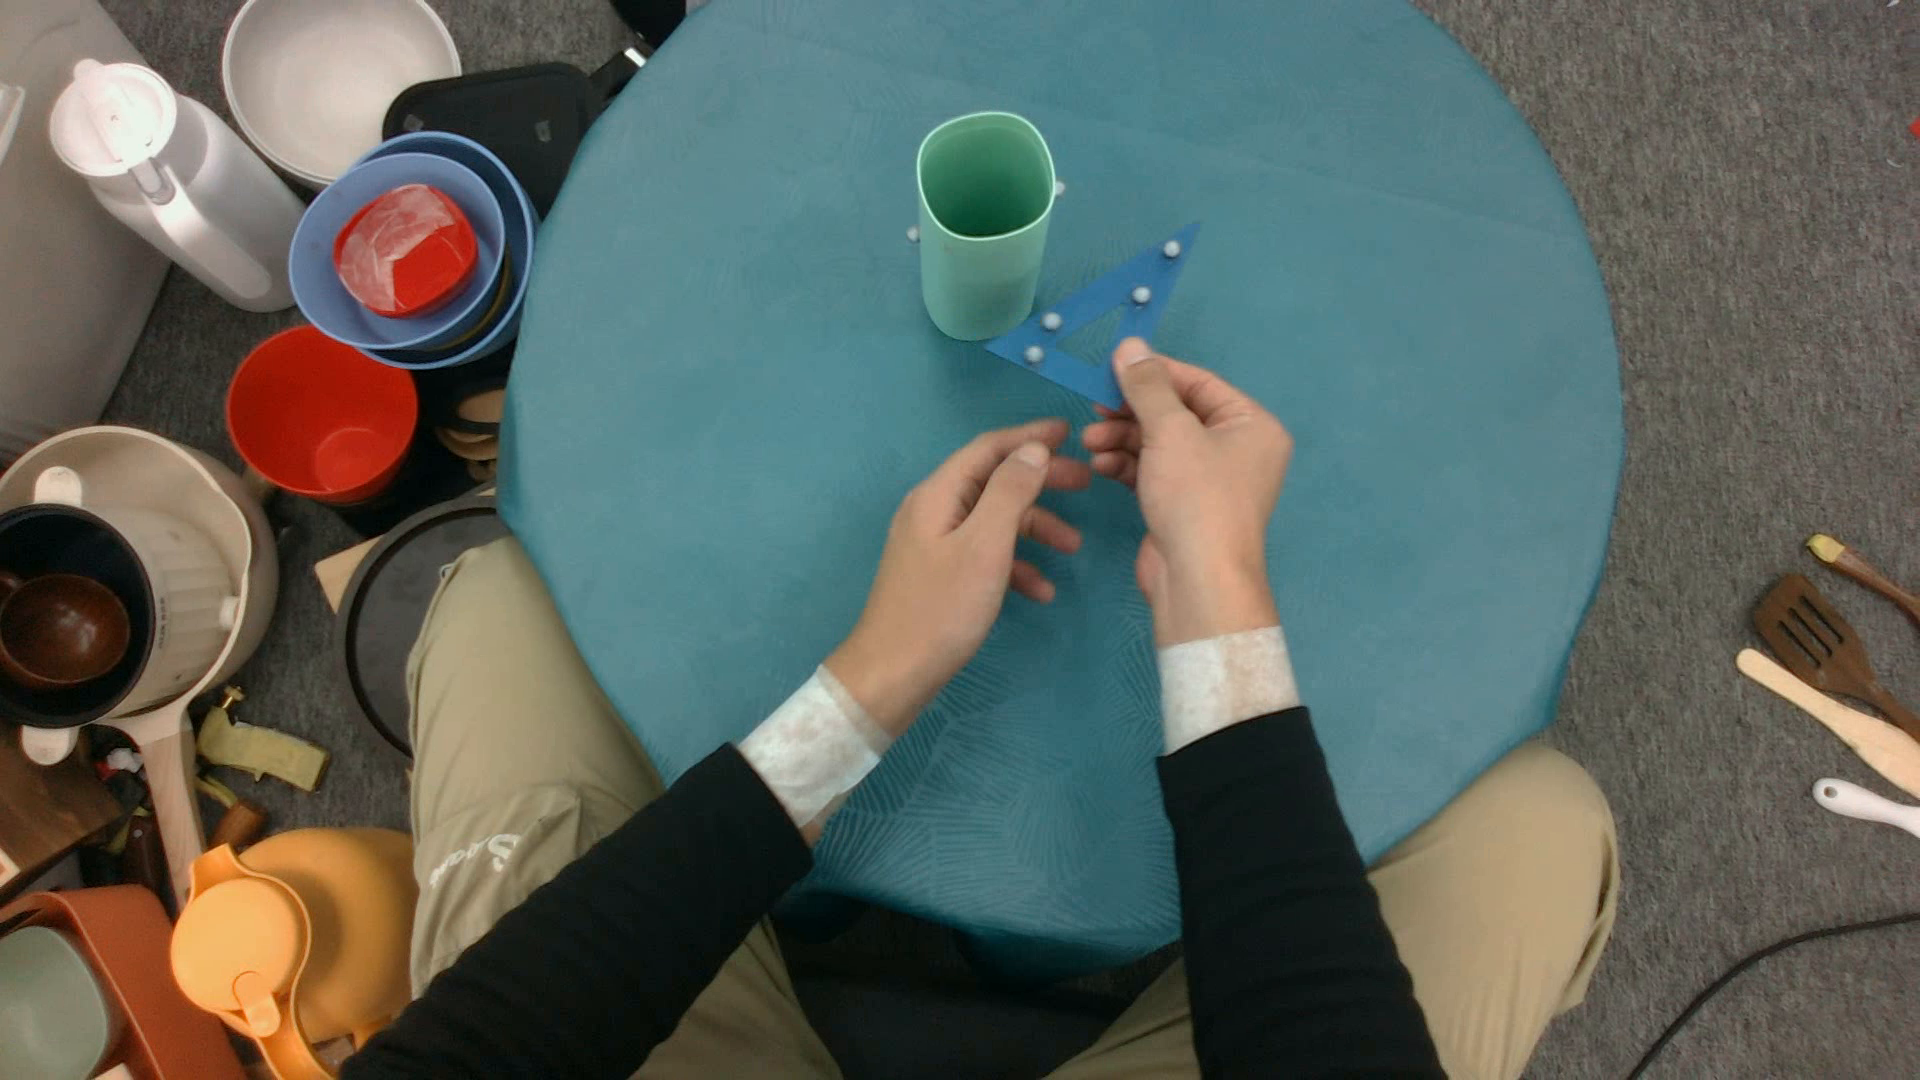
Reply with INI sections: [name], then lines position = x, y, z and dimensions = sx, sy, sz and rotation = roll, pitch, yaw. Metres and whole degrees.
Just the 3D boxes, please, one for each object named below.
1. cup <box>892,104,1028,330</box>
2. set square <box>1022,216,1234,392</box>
[cup]
position = -0.002, -0.157, 0.696
dimensions = 0.067, 0.132, 0.067
rotation = 1, 77, -2
[set square]
position = 0.098, -0.113, 0.678
dimensions = 0.132, 0.006, 0.061
rotation = -34, 74, -18
